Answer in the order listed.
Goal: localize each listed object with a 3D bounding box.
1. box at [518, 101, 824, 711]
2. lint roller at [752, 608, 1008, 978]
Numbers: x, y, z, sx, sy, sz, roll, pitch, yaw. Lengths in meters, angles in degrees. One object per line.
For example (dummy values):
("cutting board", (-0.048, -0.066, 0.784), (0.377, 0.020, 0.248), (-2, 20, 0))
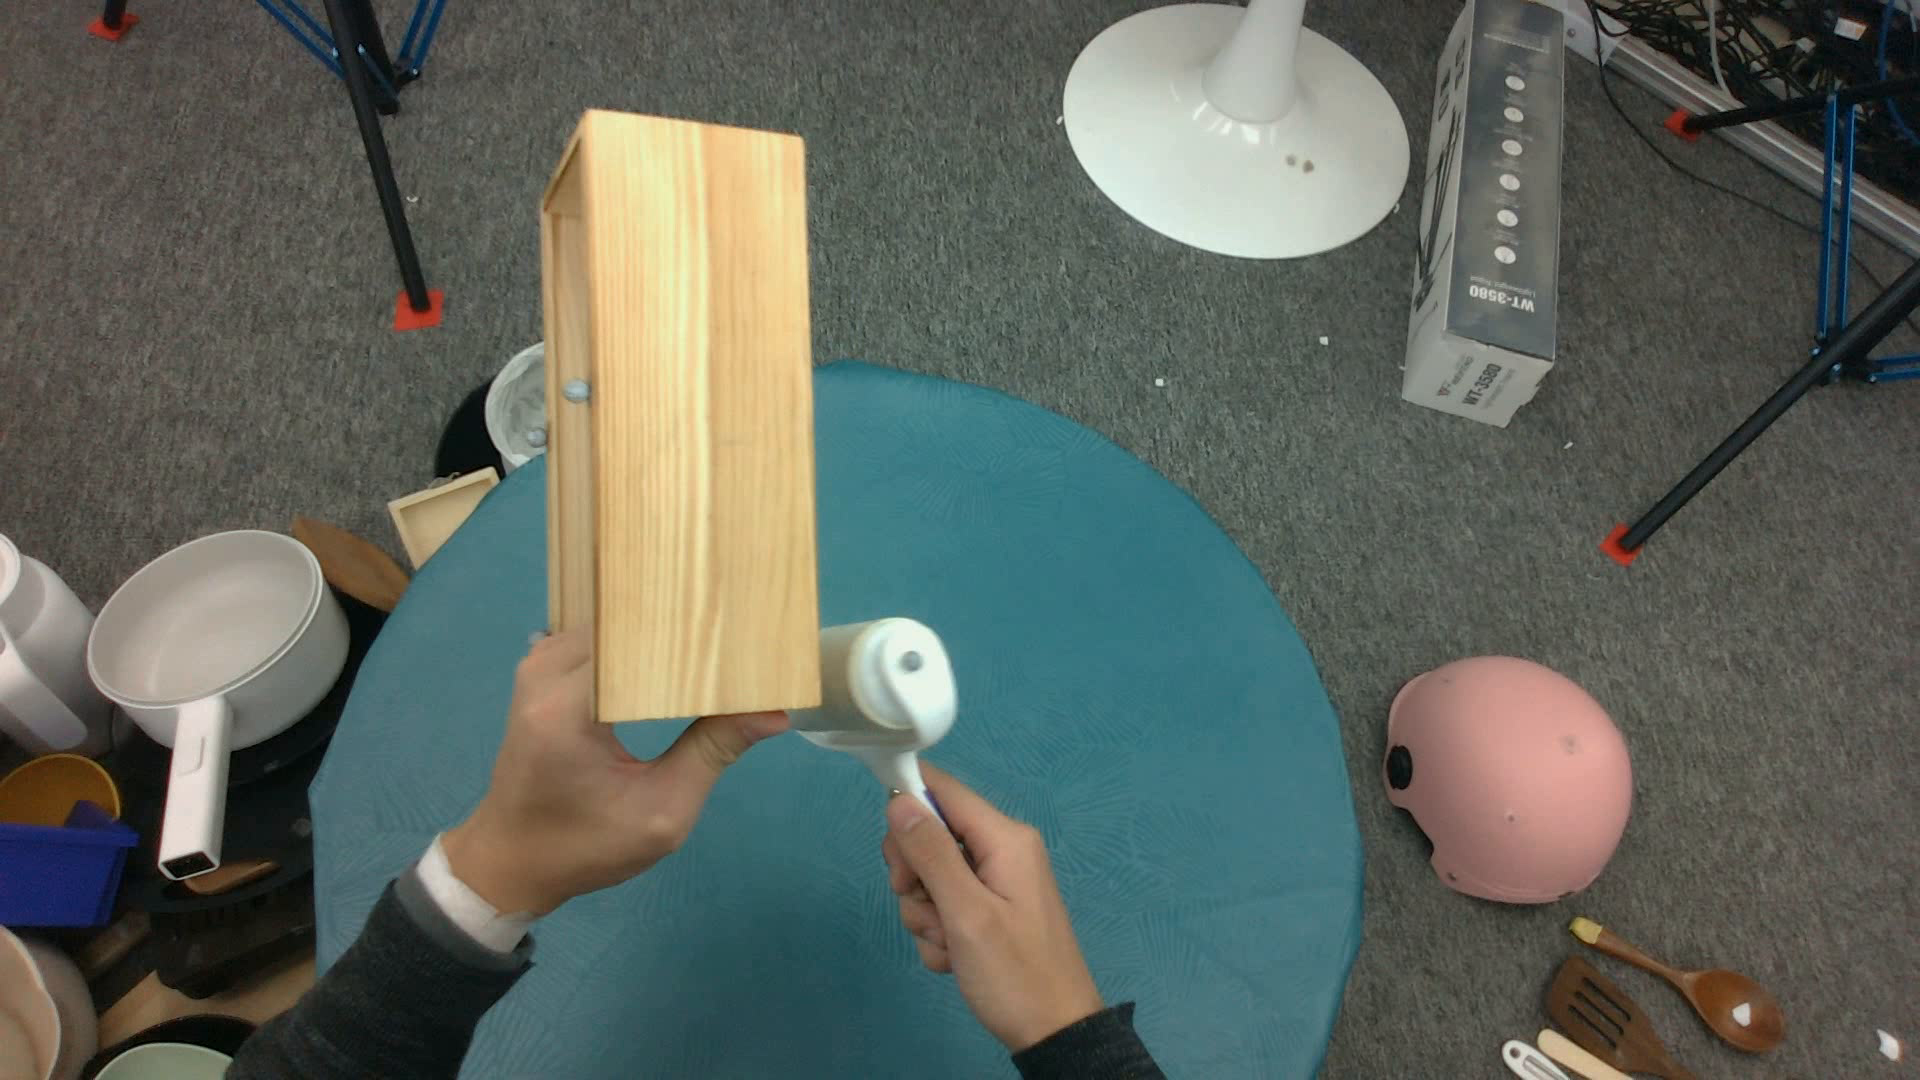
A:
("box", (-0.115, -0.045, 0.532), (0.080, 0.107, 0.211), (-3, 86, -26))
("lint roller", (-0.016, 0.111, 0.614), (0.050, 0.132, 0.180), (-39, 101, -31))
